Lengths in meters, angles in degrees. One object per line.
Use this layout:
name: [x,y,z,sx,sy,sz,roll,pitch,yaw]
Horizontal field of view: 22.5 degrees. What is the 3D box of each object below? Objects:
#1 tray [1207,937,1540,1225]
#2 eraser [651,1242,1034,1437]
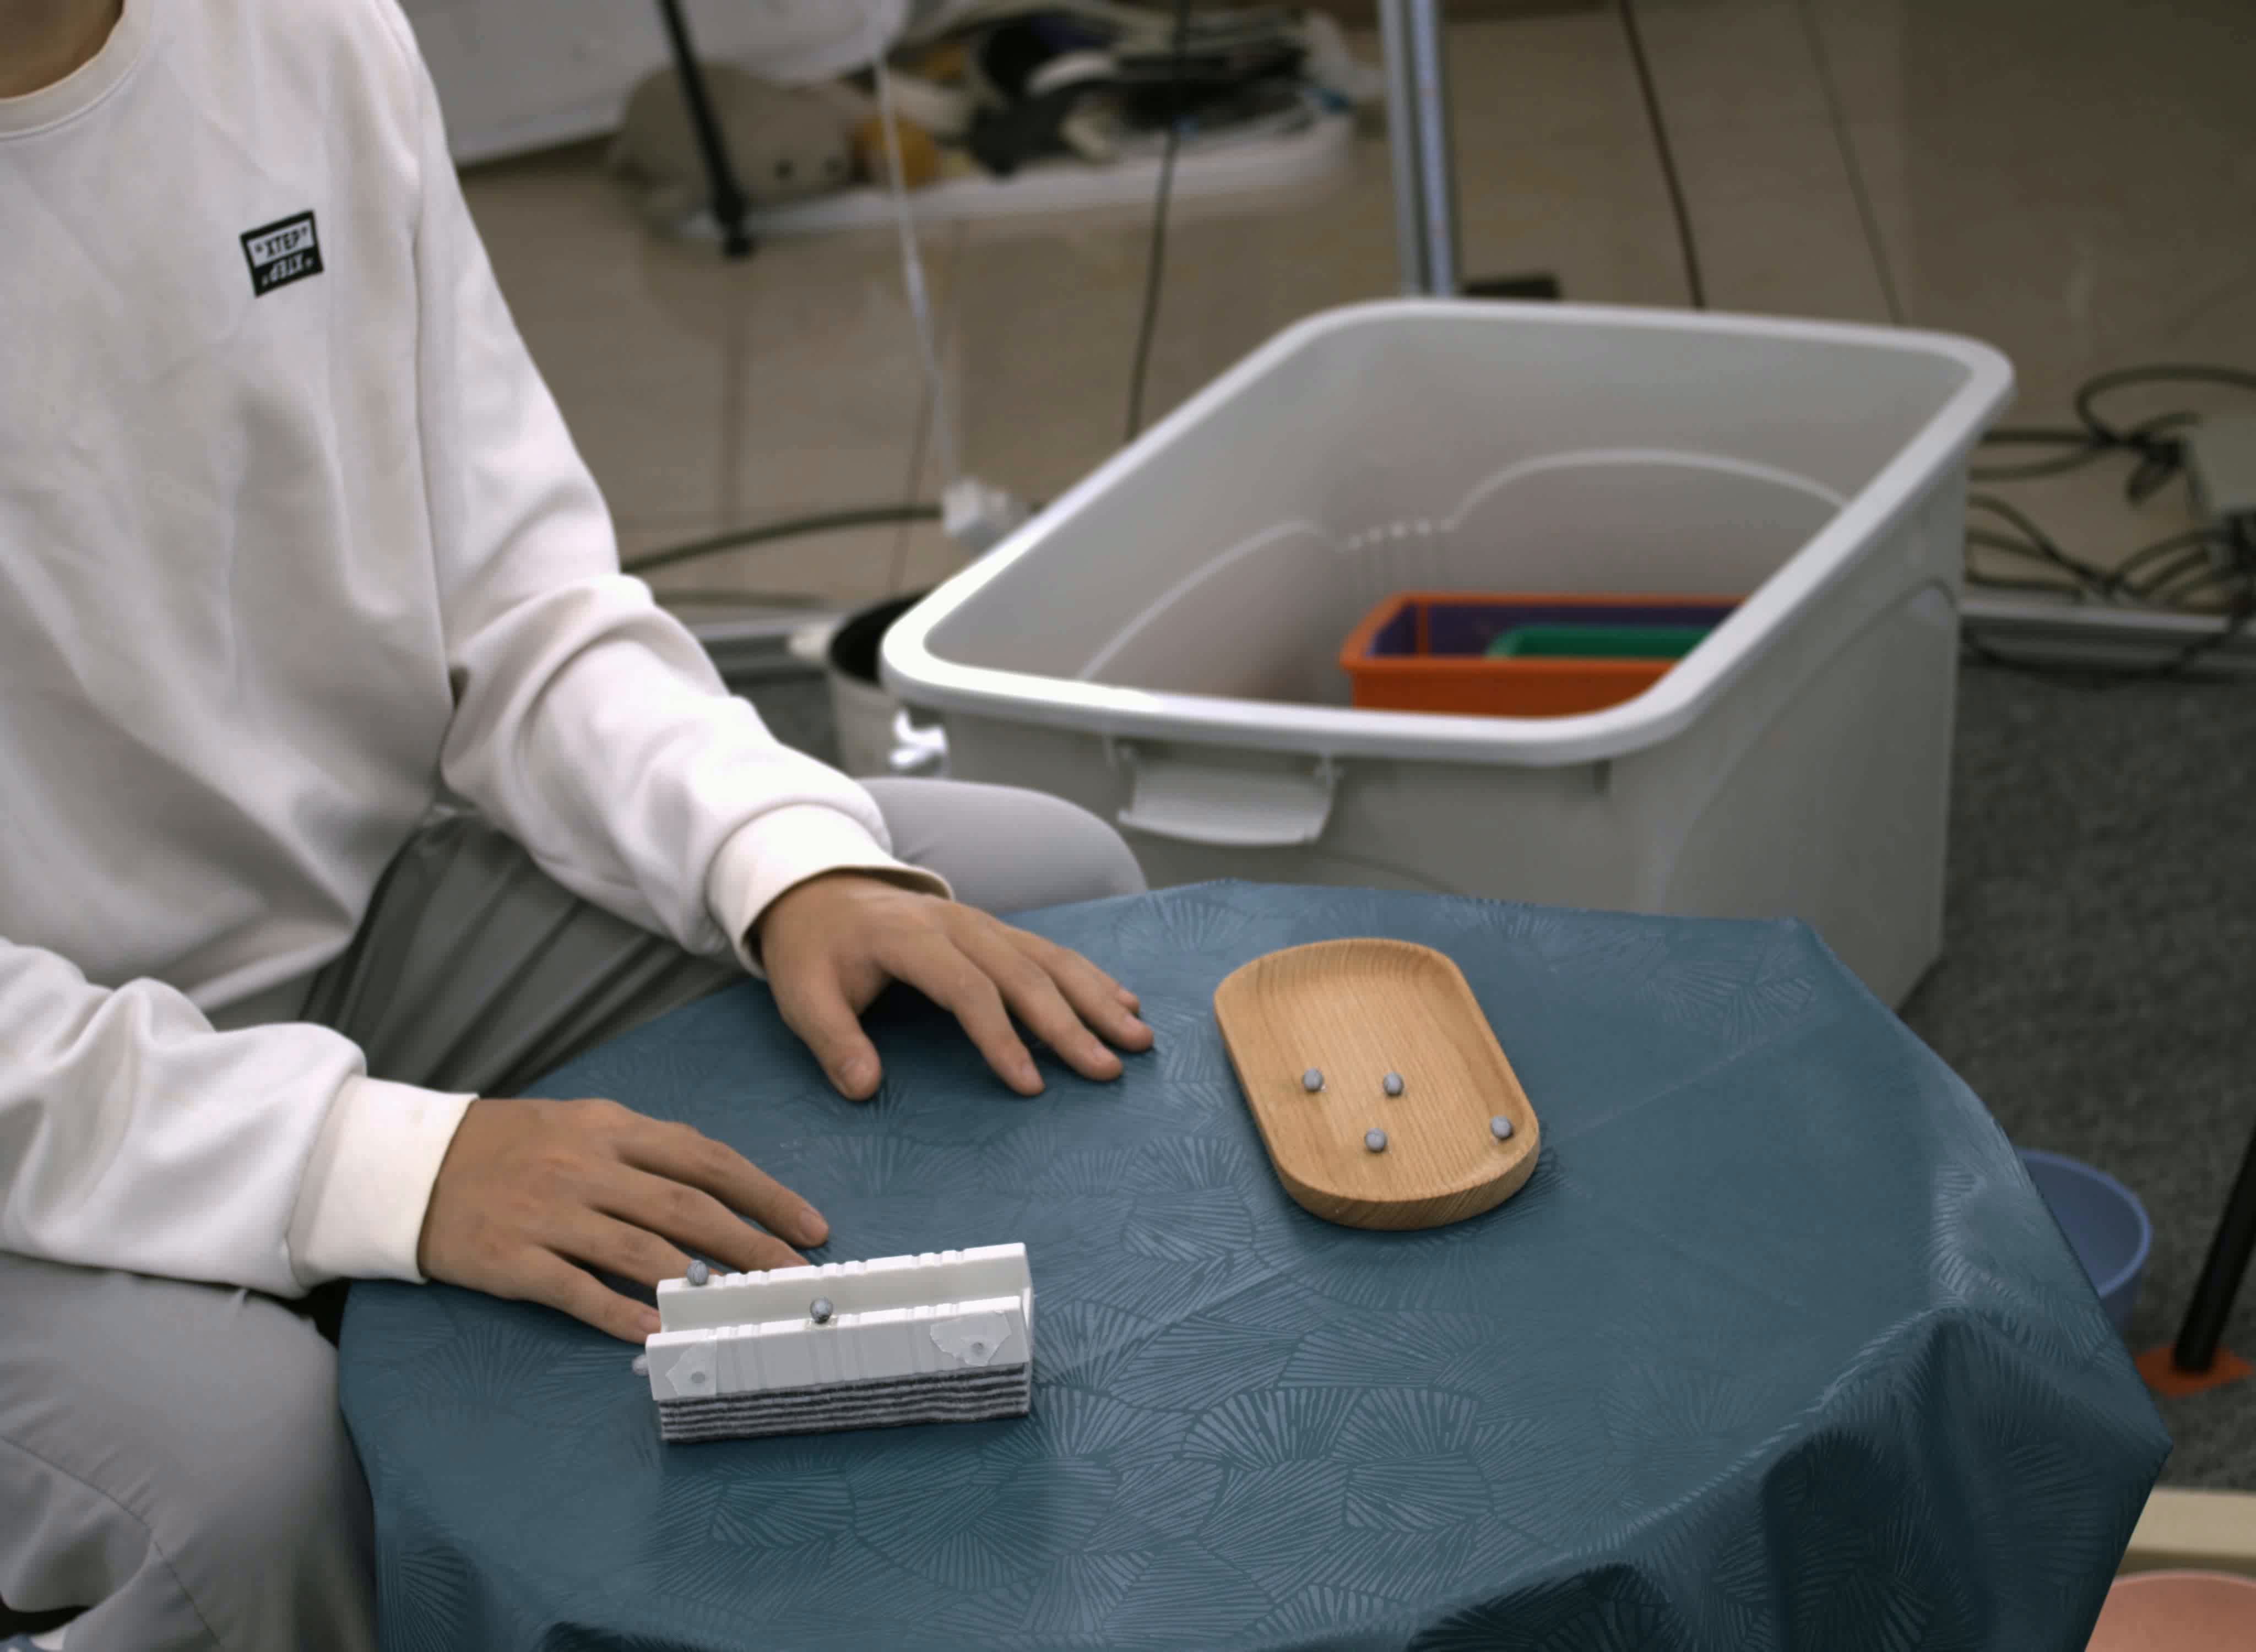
tray: [0.094,0.097,2.196,0.101,0.020,0.228,-9,23,-7]
eraser: [-0.101,0.183,2.018,0.134,0.047,0.049,-7,20,0]
